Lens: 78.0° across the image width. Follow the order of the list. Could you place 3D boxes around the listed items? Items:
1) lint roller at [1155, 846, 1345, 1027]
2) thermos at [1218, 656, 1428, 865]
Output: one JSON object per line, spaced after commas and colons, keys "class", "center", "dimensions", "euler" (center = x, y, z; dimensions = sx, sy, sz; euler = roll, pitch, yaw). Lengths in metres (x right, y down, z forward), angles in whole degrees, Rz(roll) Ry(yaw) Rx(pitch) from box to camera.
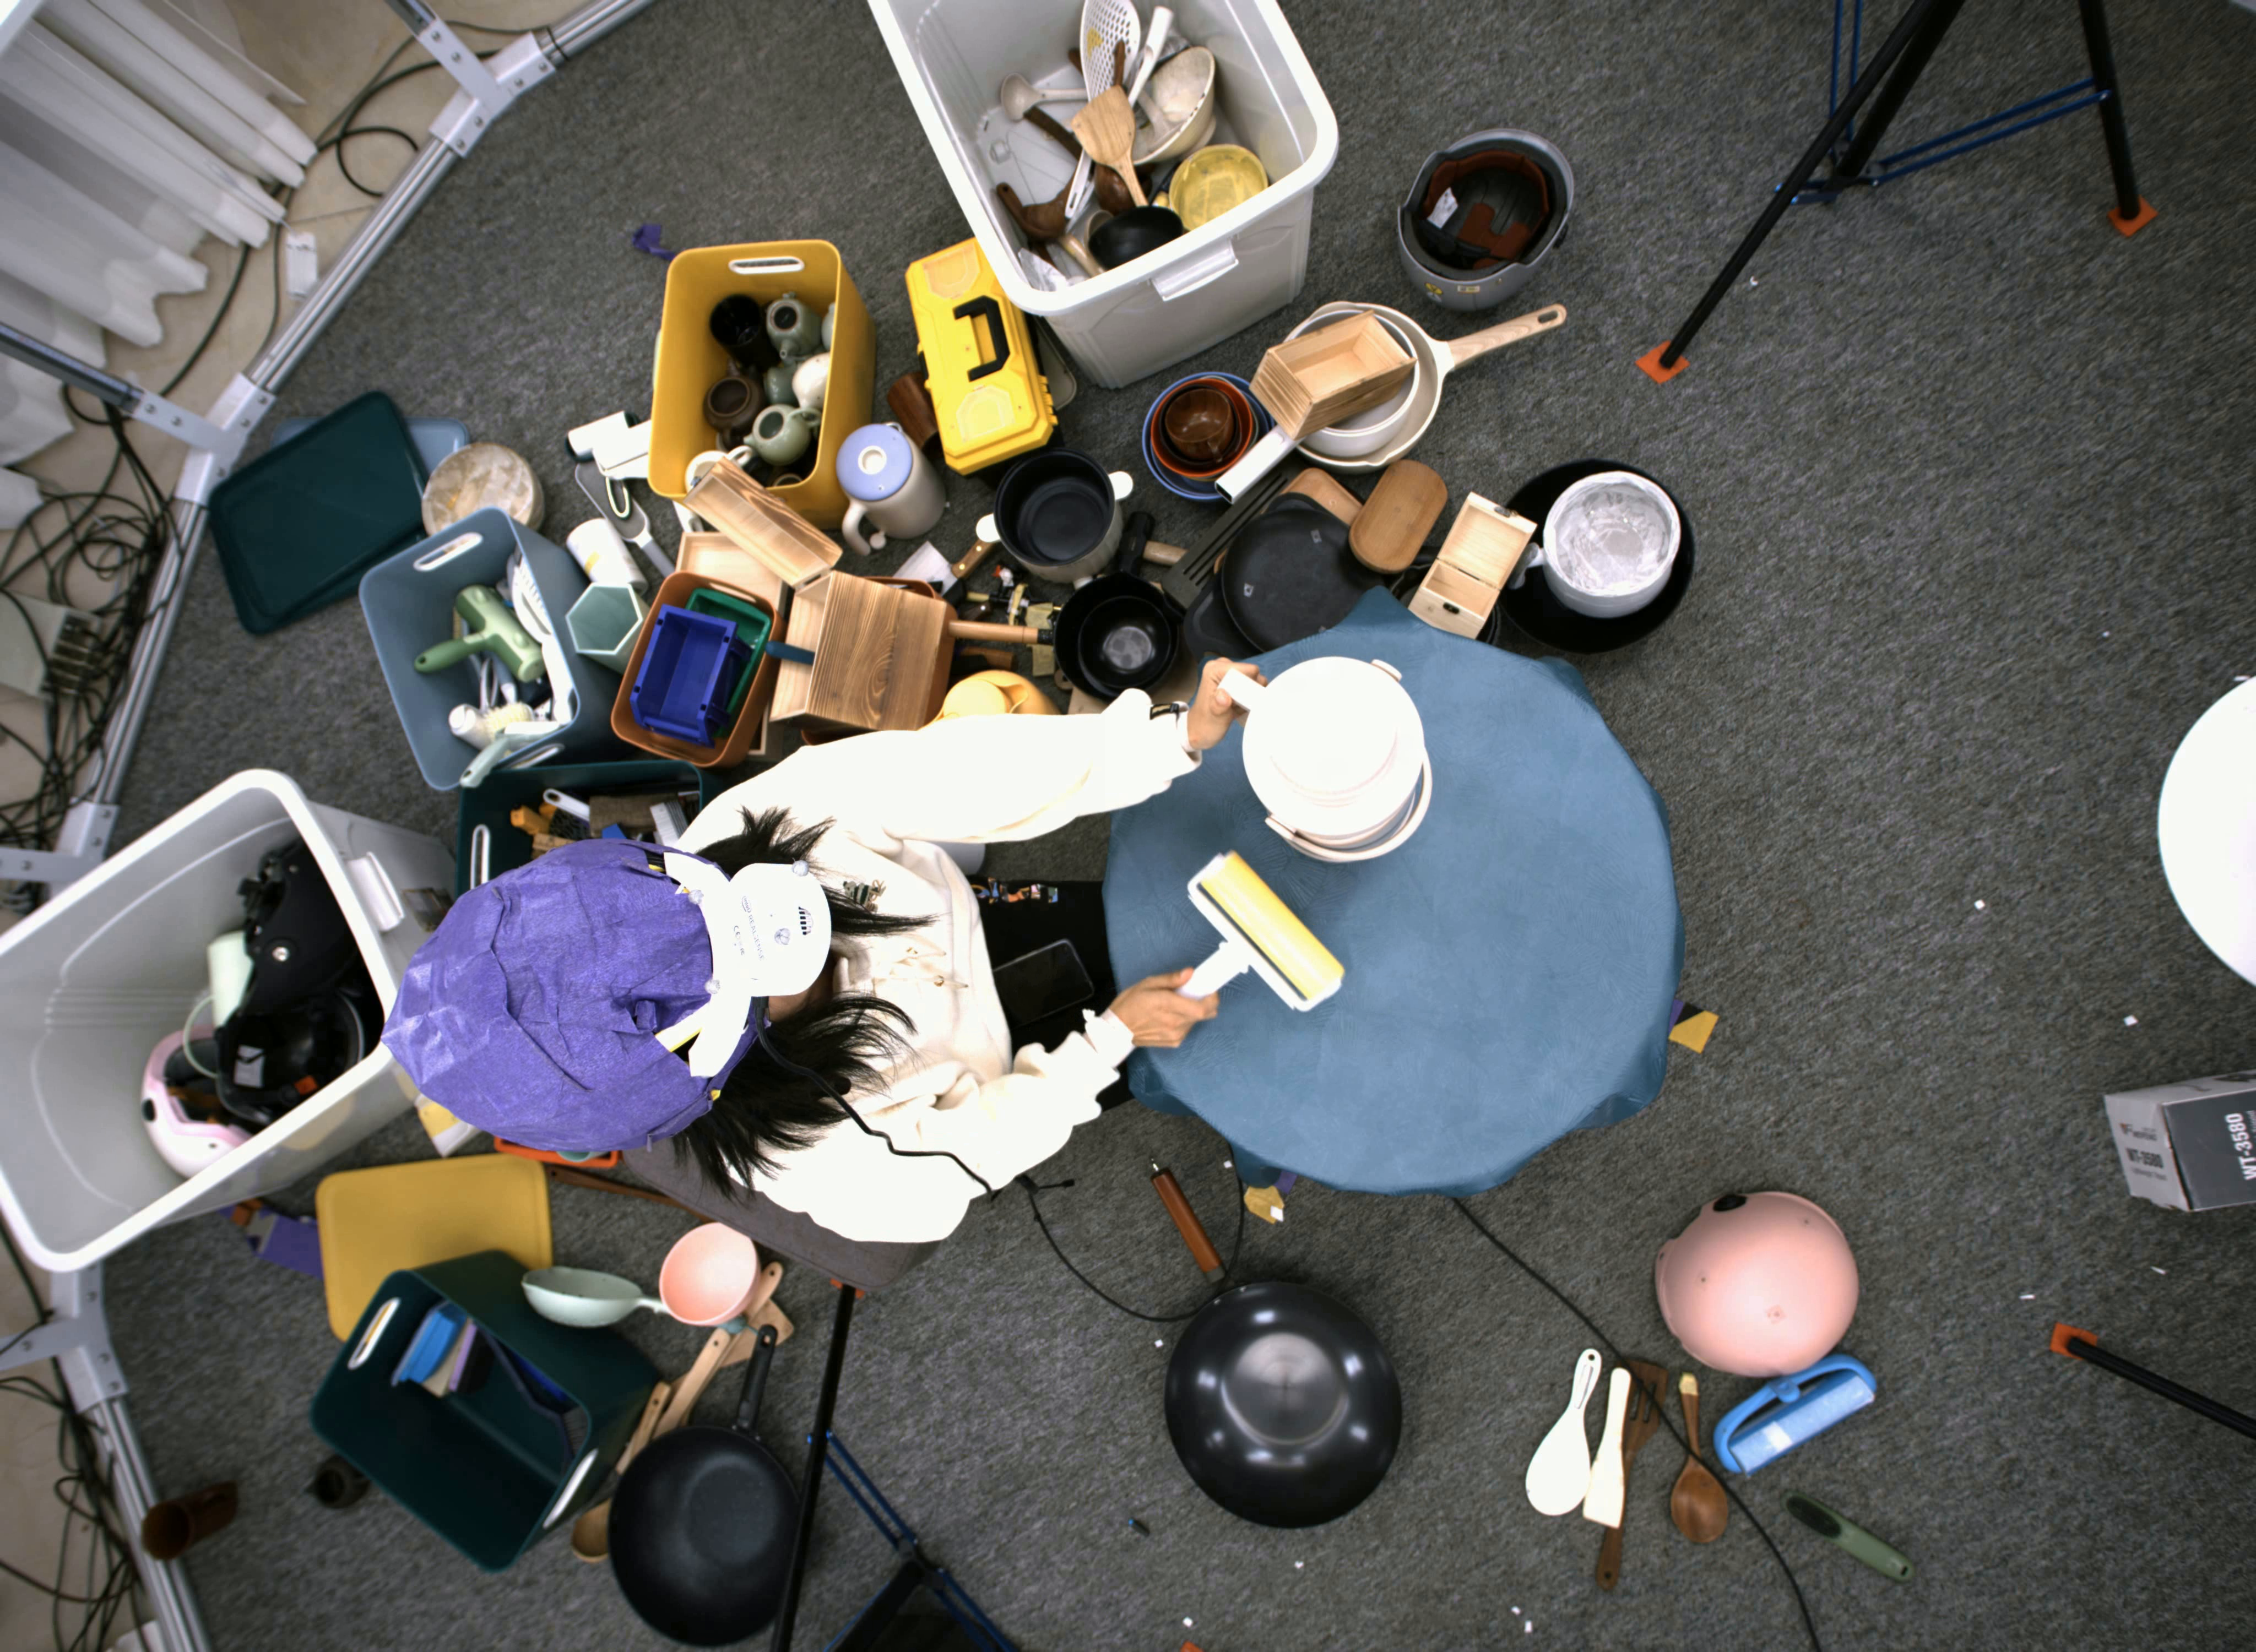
{"class": "lint roller", "center": [0.094, 0.141, 1.397], "dimensions": [0.174, 0.050, 0.195], "euler": [45, 108, 0]}
{"class": "thermos", "center": [0.183, -0.069, 1.283], "dimensions": [0.206, 0.407, 0.175], "euler": [34, 91, 11]}
